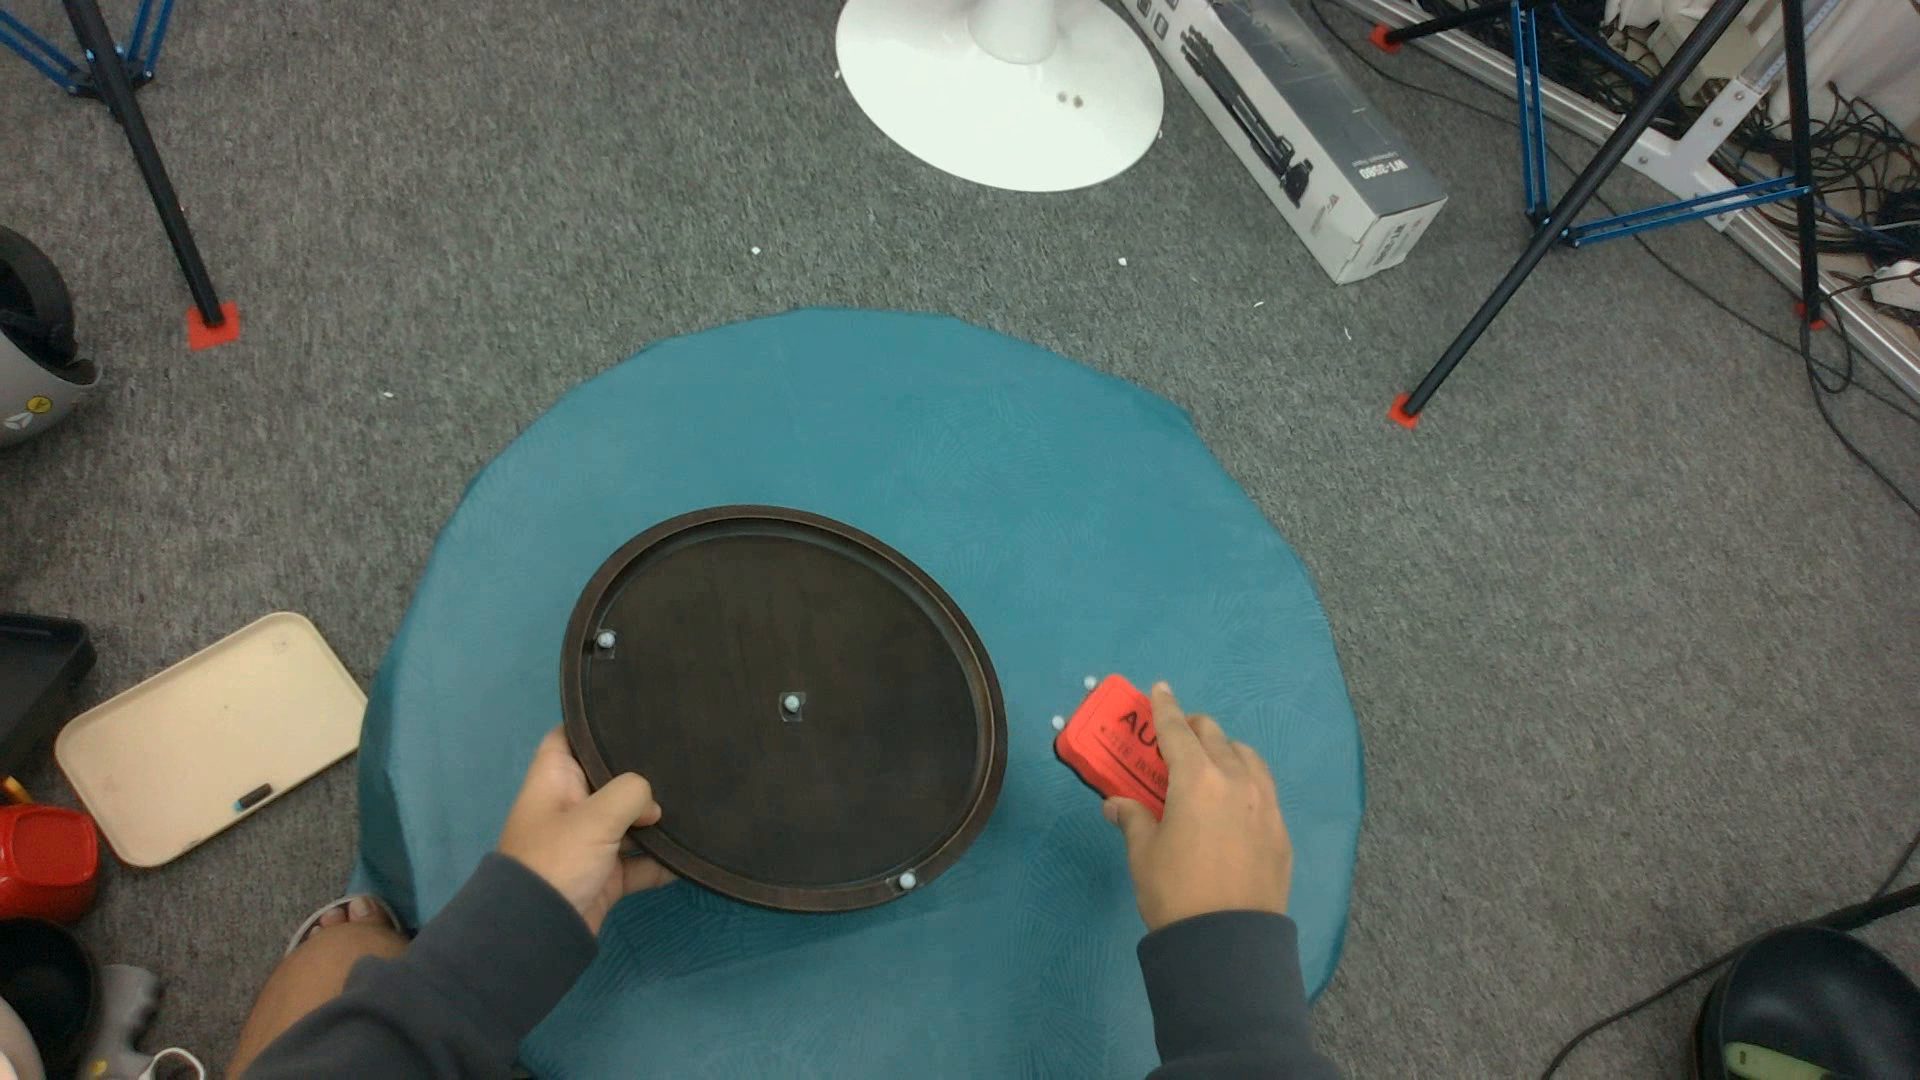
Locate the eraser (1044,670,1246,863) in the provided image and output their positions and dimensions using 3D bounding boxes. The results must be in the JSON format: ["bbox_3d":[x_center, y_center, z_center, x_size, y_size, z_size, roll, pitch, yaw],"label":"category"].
[{"bbox_3d":[0.103,0.124,0.763,0.108,0.023,0.059,39,53,2],"label":"eraser"}]

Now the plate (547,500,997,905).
[{"bbox_3d":[-0.098,0.082,0.755,0.255,0.029,0.256,17,48,-19],"label":"plate"}]
